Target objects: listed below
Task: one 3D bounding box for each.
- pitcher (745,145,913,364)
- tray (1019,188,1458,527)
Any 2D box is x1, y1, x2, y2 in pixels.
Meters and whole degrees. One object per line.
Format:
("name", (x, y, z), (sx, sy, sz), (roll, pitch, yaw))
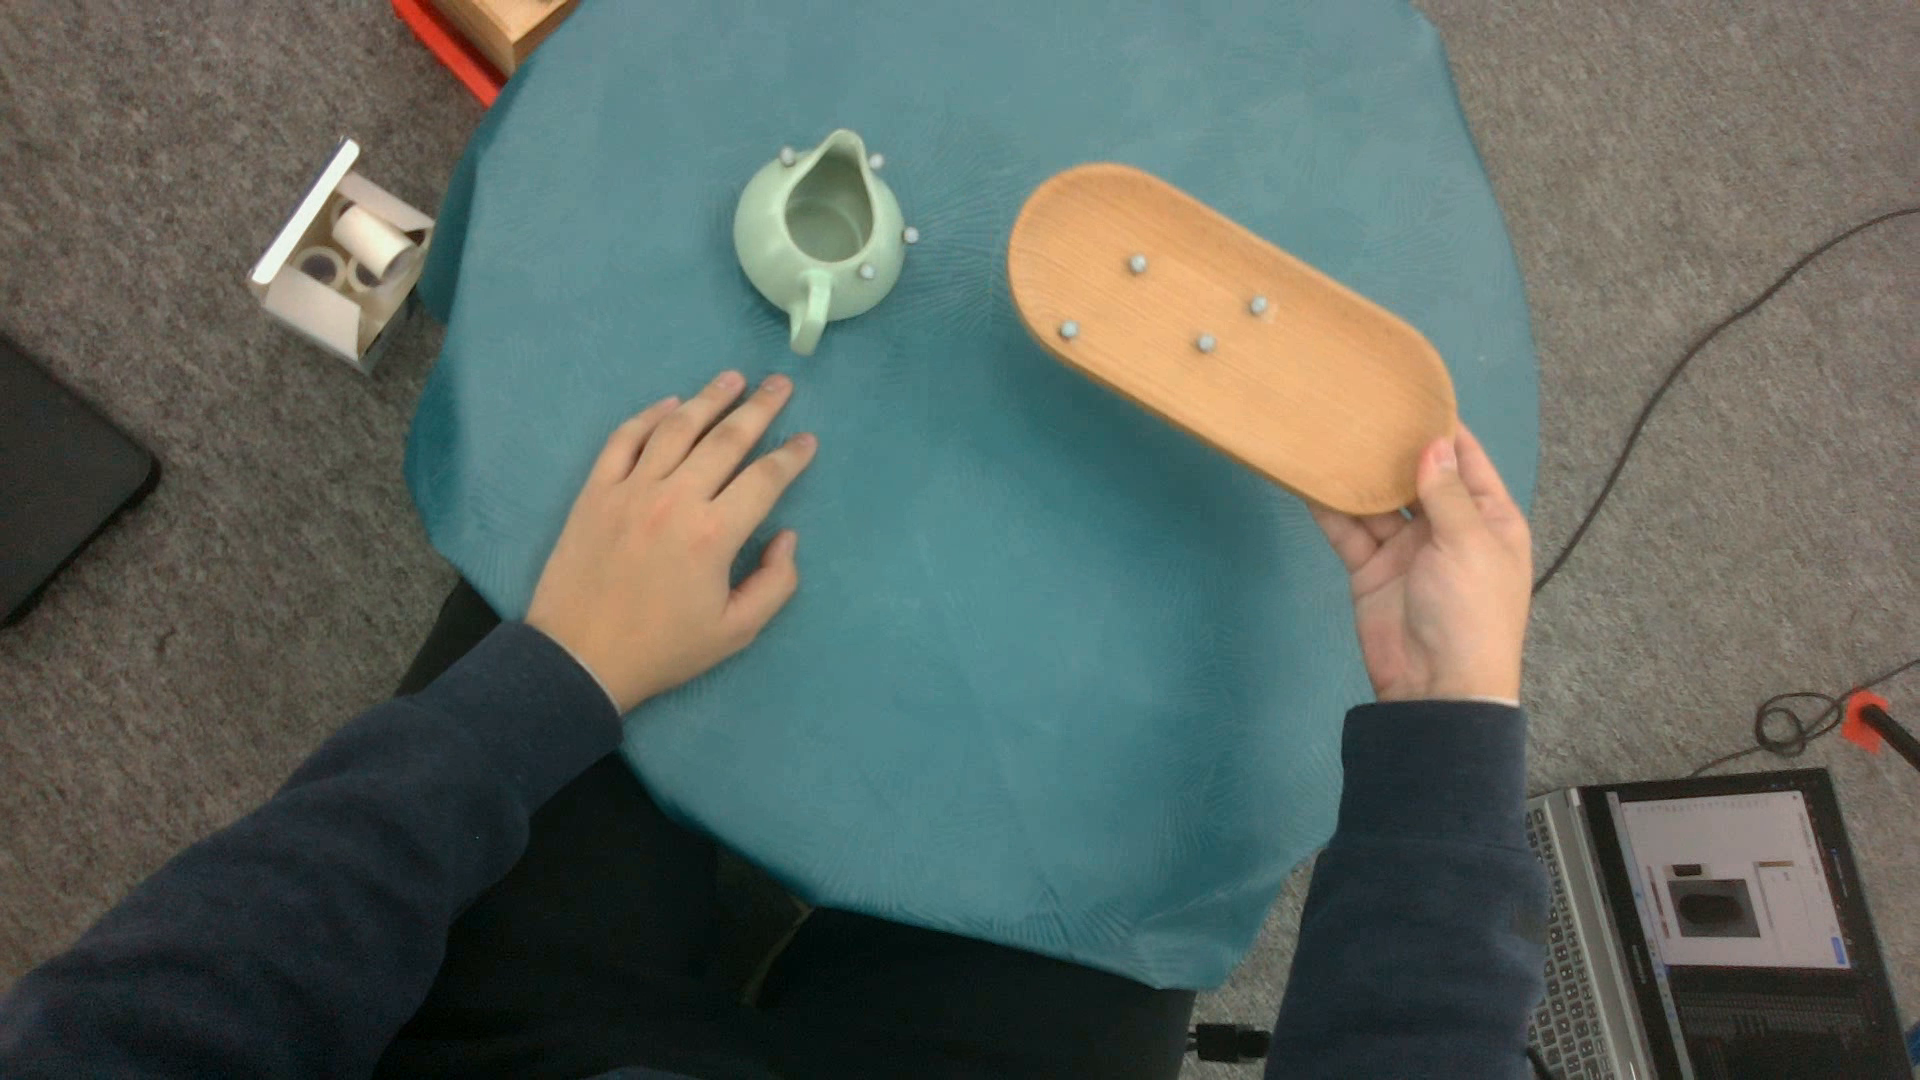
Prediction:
("pitcher", (-0.066, -0.140, 0.696), (0.086, 0.060, 0.108), (9, 82, -12))
("tray", (0.134, -0.087, 0.661), (0.231, 0.020, 0.102), (29, 77, -6))
